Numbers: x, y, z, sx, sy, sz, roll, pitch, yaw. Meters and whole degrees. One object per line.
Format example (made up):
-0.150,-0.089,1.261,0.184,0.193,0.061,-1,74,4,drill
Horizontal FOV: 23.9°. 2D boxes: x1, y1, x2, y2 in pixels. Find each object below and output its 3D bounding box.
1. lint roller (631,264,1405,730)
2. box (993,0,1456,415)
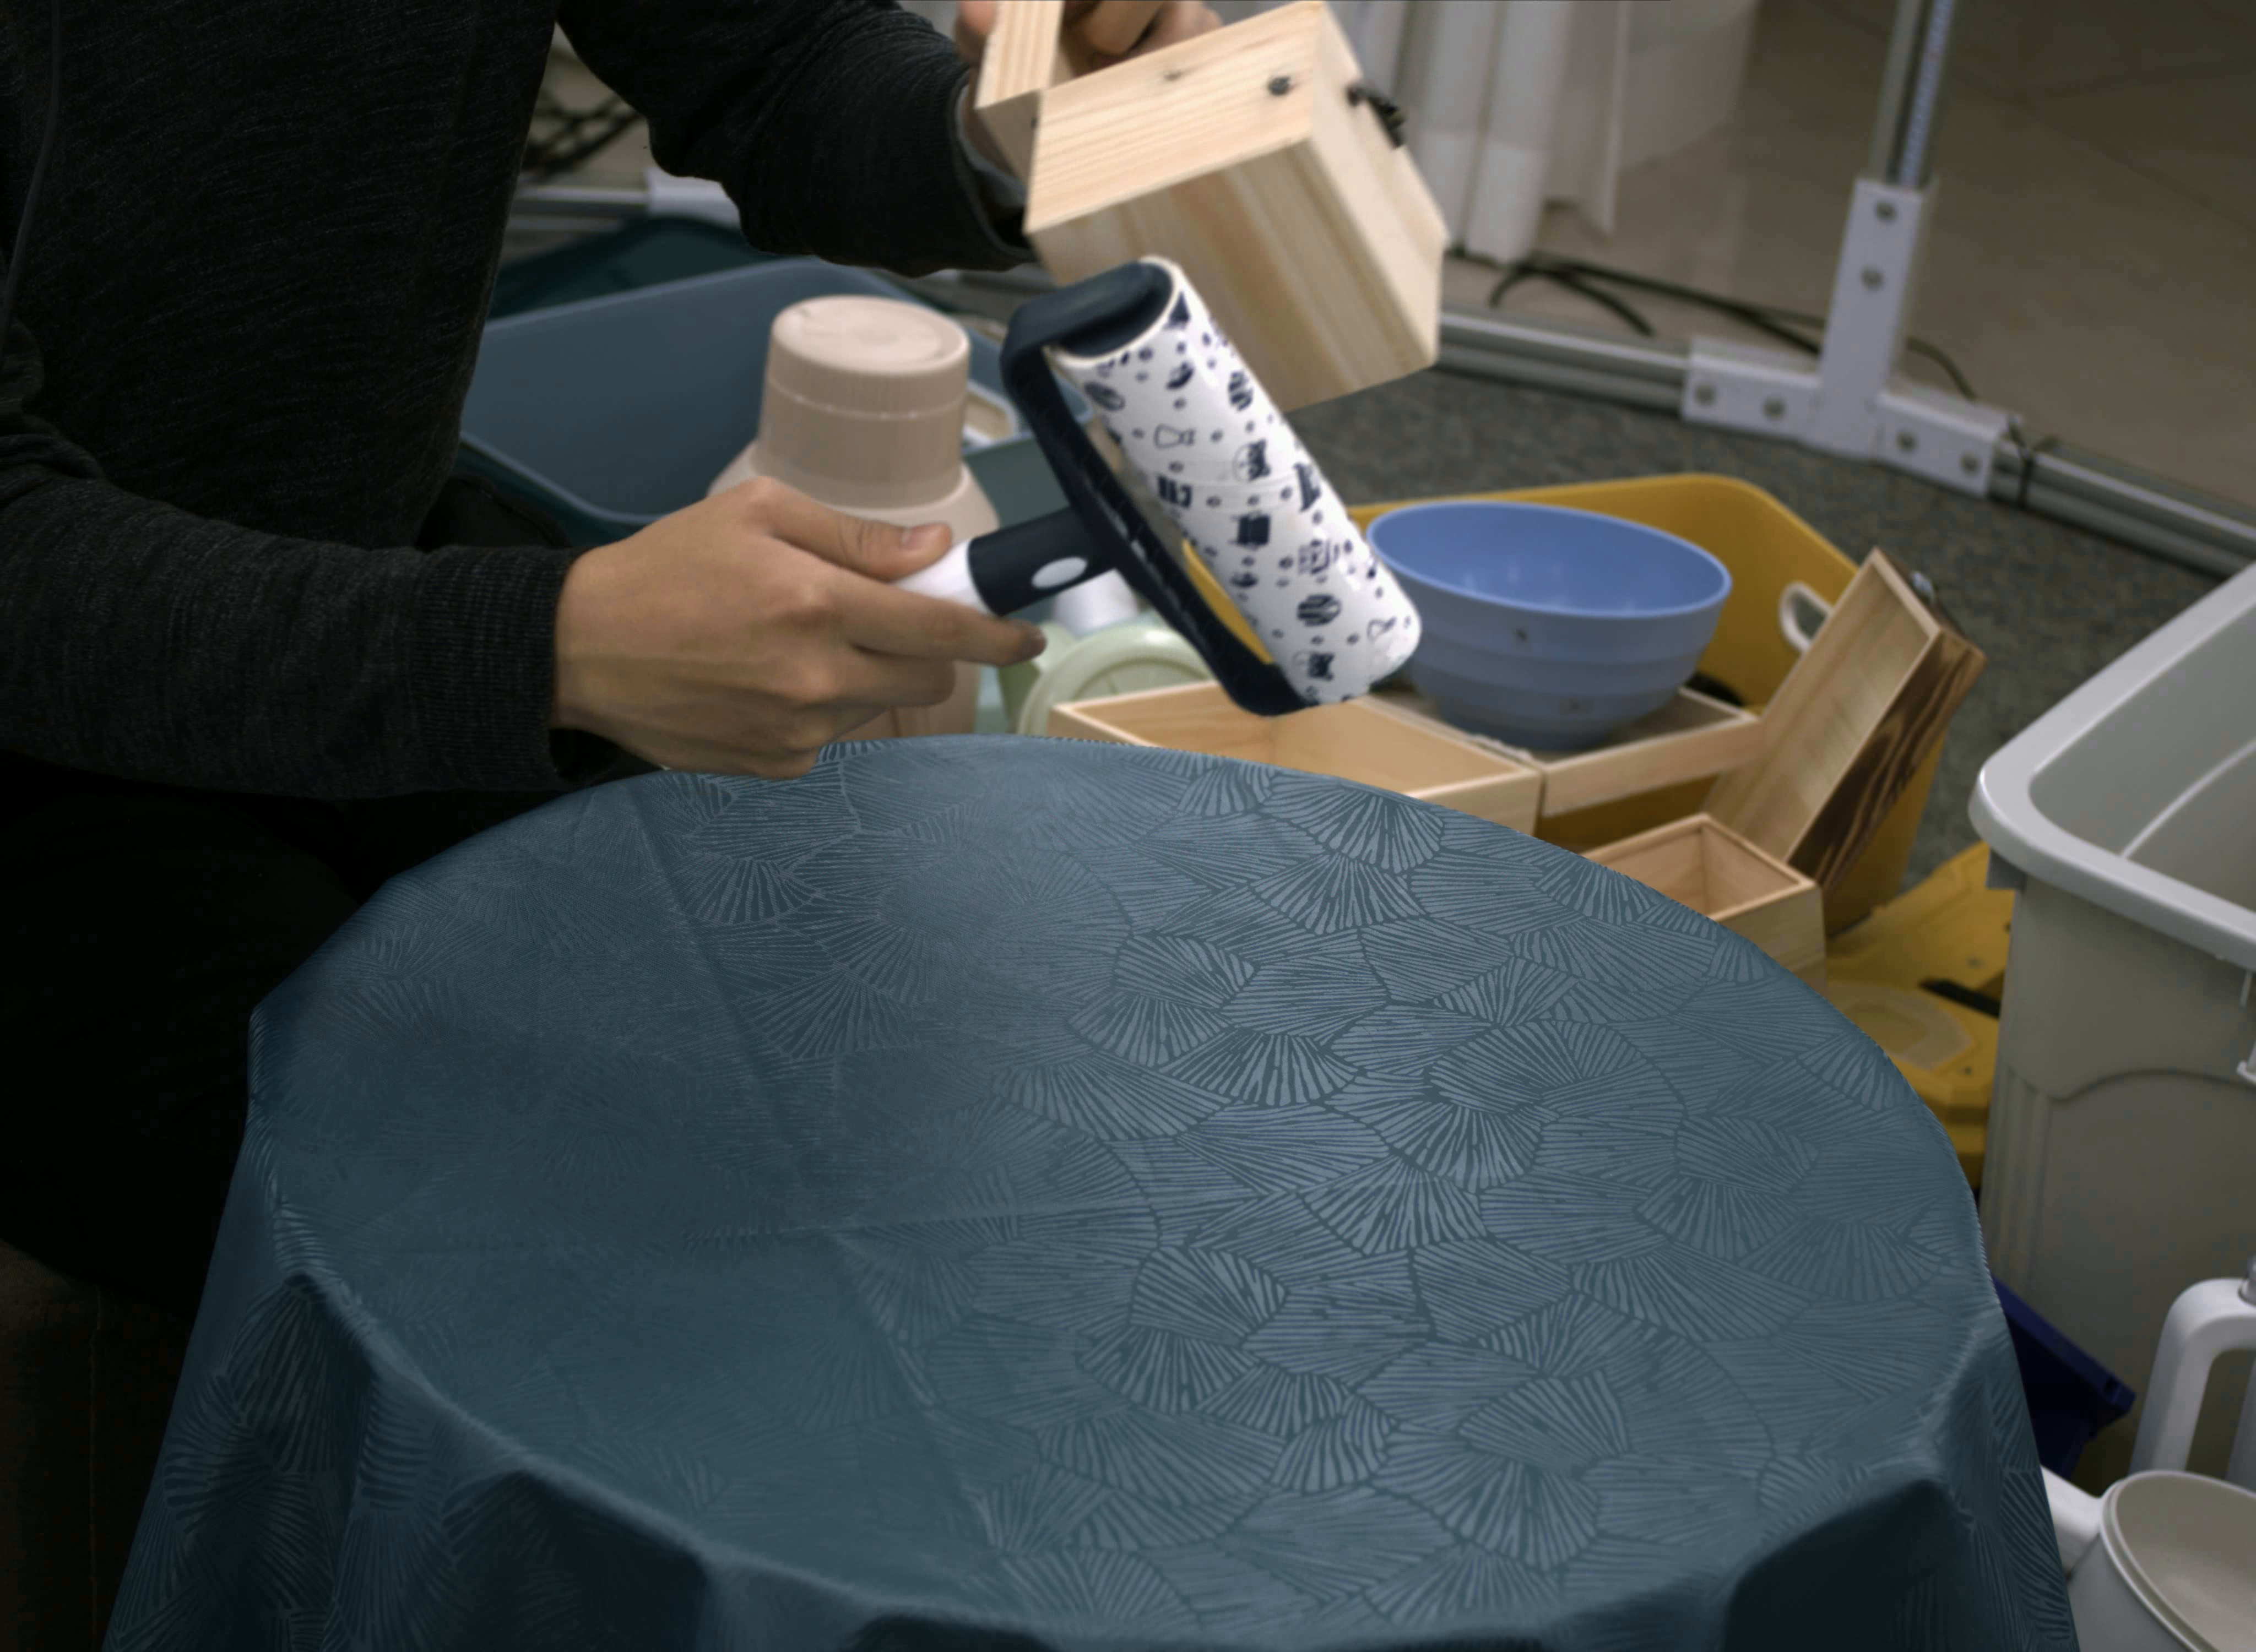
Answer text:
-0.054,-0.072,1.714,0.247,0.175,0.051,-22,39,22,lint roller
0.035,-0.234,1.783,0.134,0.102,0.186,-17,40,20,box
